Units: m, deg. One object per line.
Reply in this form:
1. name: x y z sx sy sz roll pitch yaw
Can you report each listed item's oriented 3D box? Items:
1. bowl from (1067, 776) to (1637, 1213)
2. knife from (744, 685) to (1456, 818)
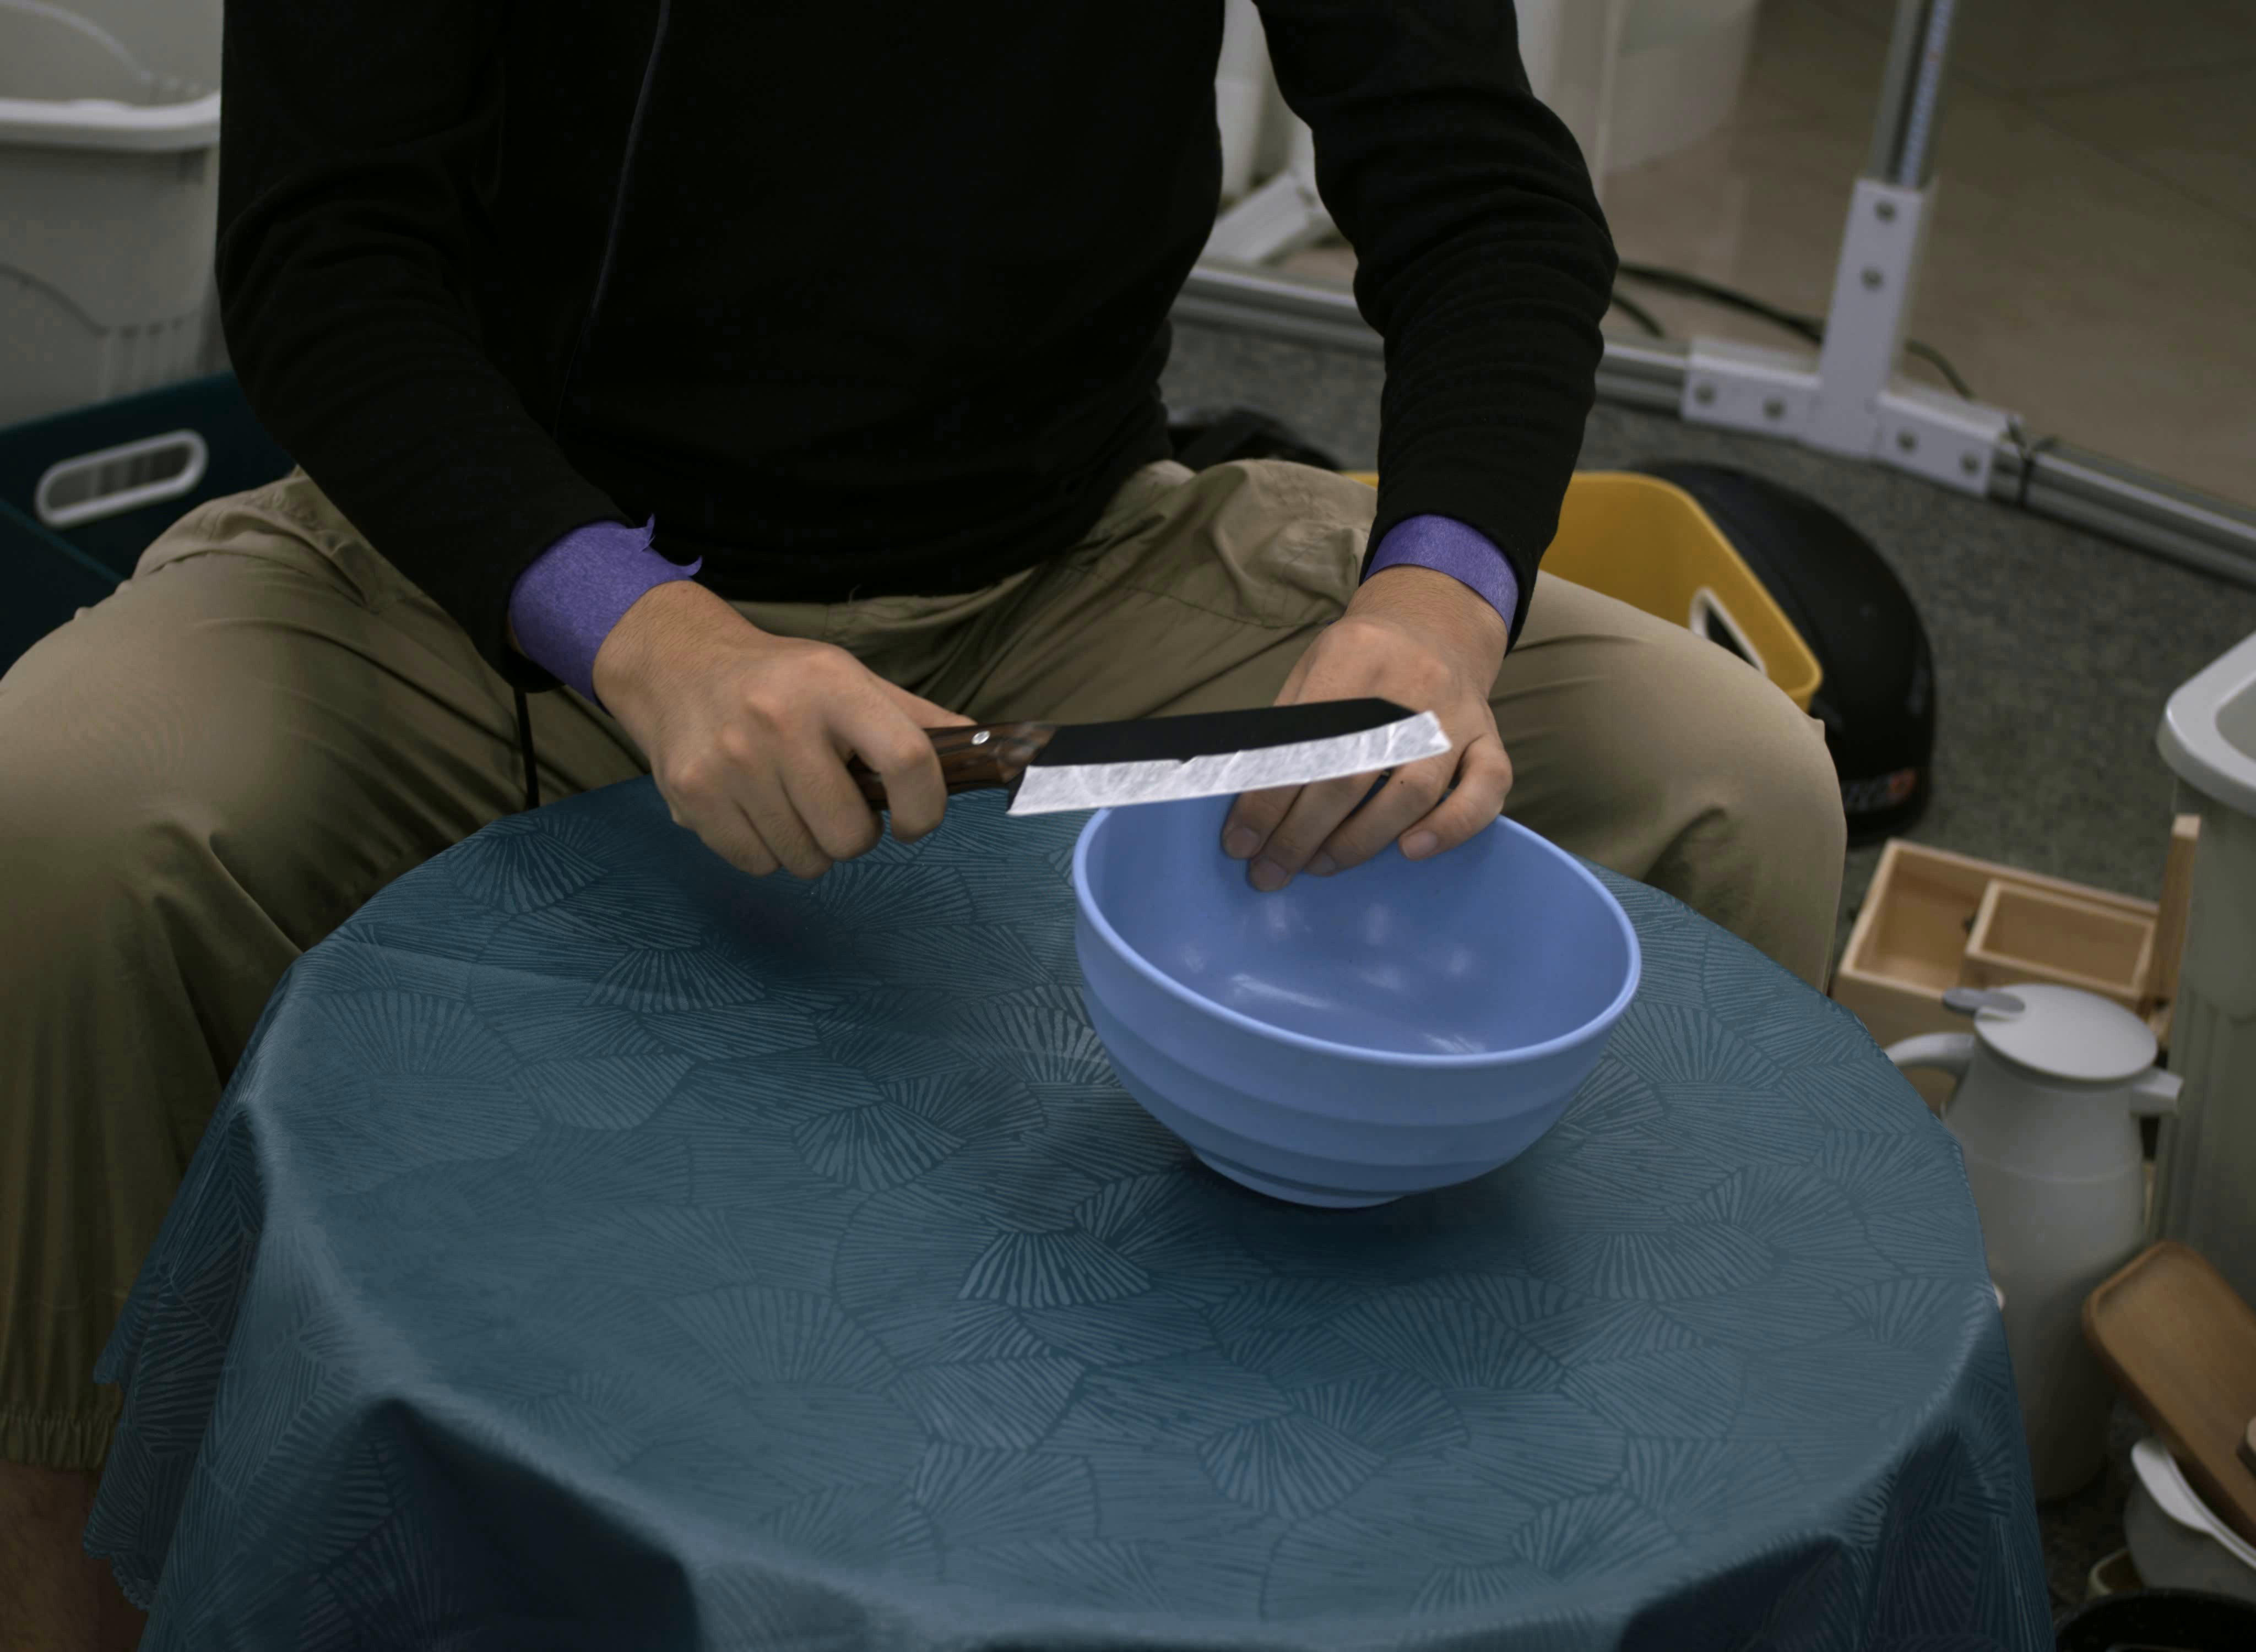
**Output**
1. bowl: 0.069 0.068 1.823 0.196 0.095 0.197 8 27 -4
2. knife: -0.014 -0.024 1.857 0.290 0.020 0.050 -4 43 31
